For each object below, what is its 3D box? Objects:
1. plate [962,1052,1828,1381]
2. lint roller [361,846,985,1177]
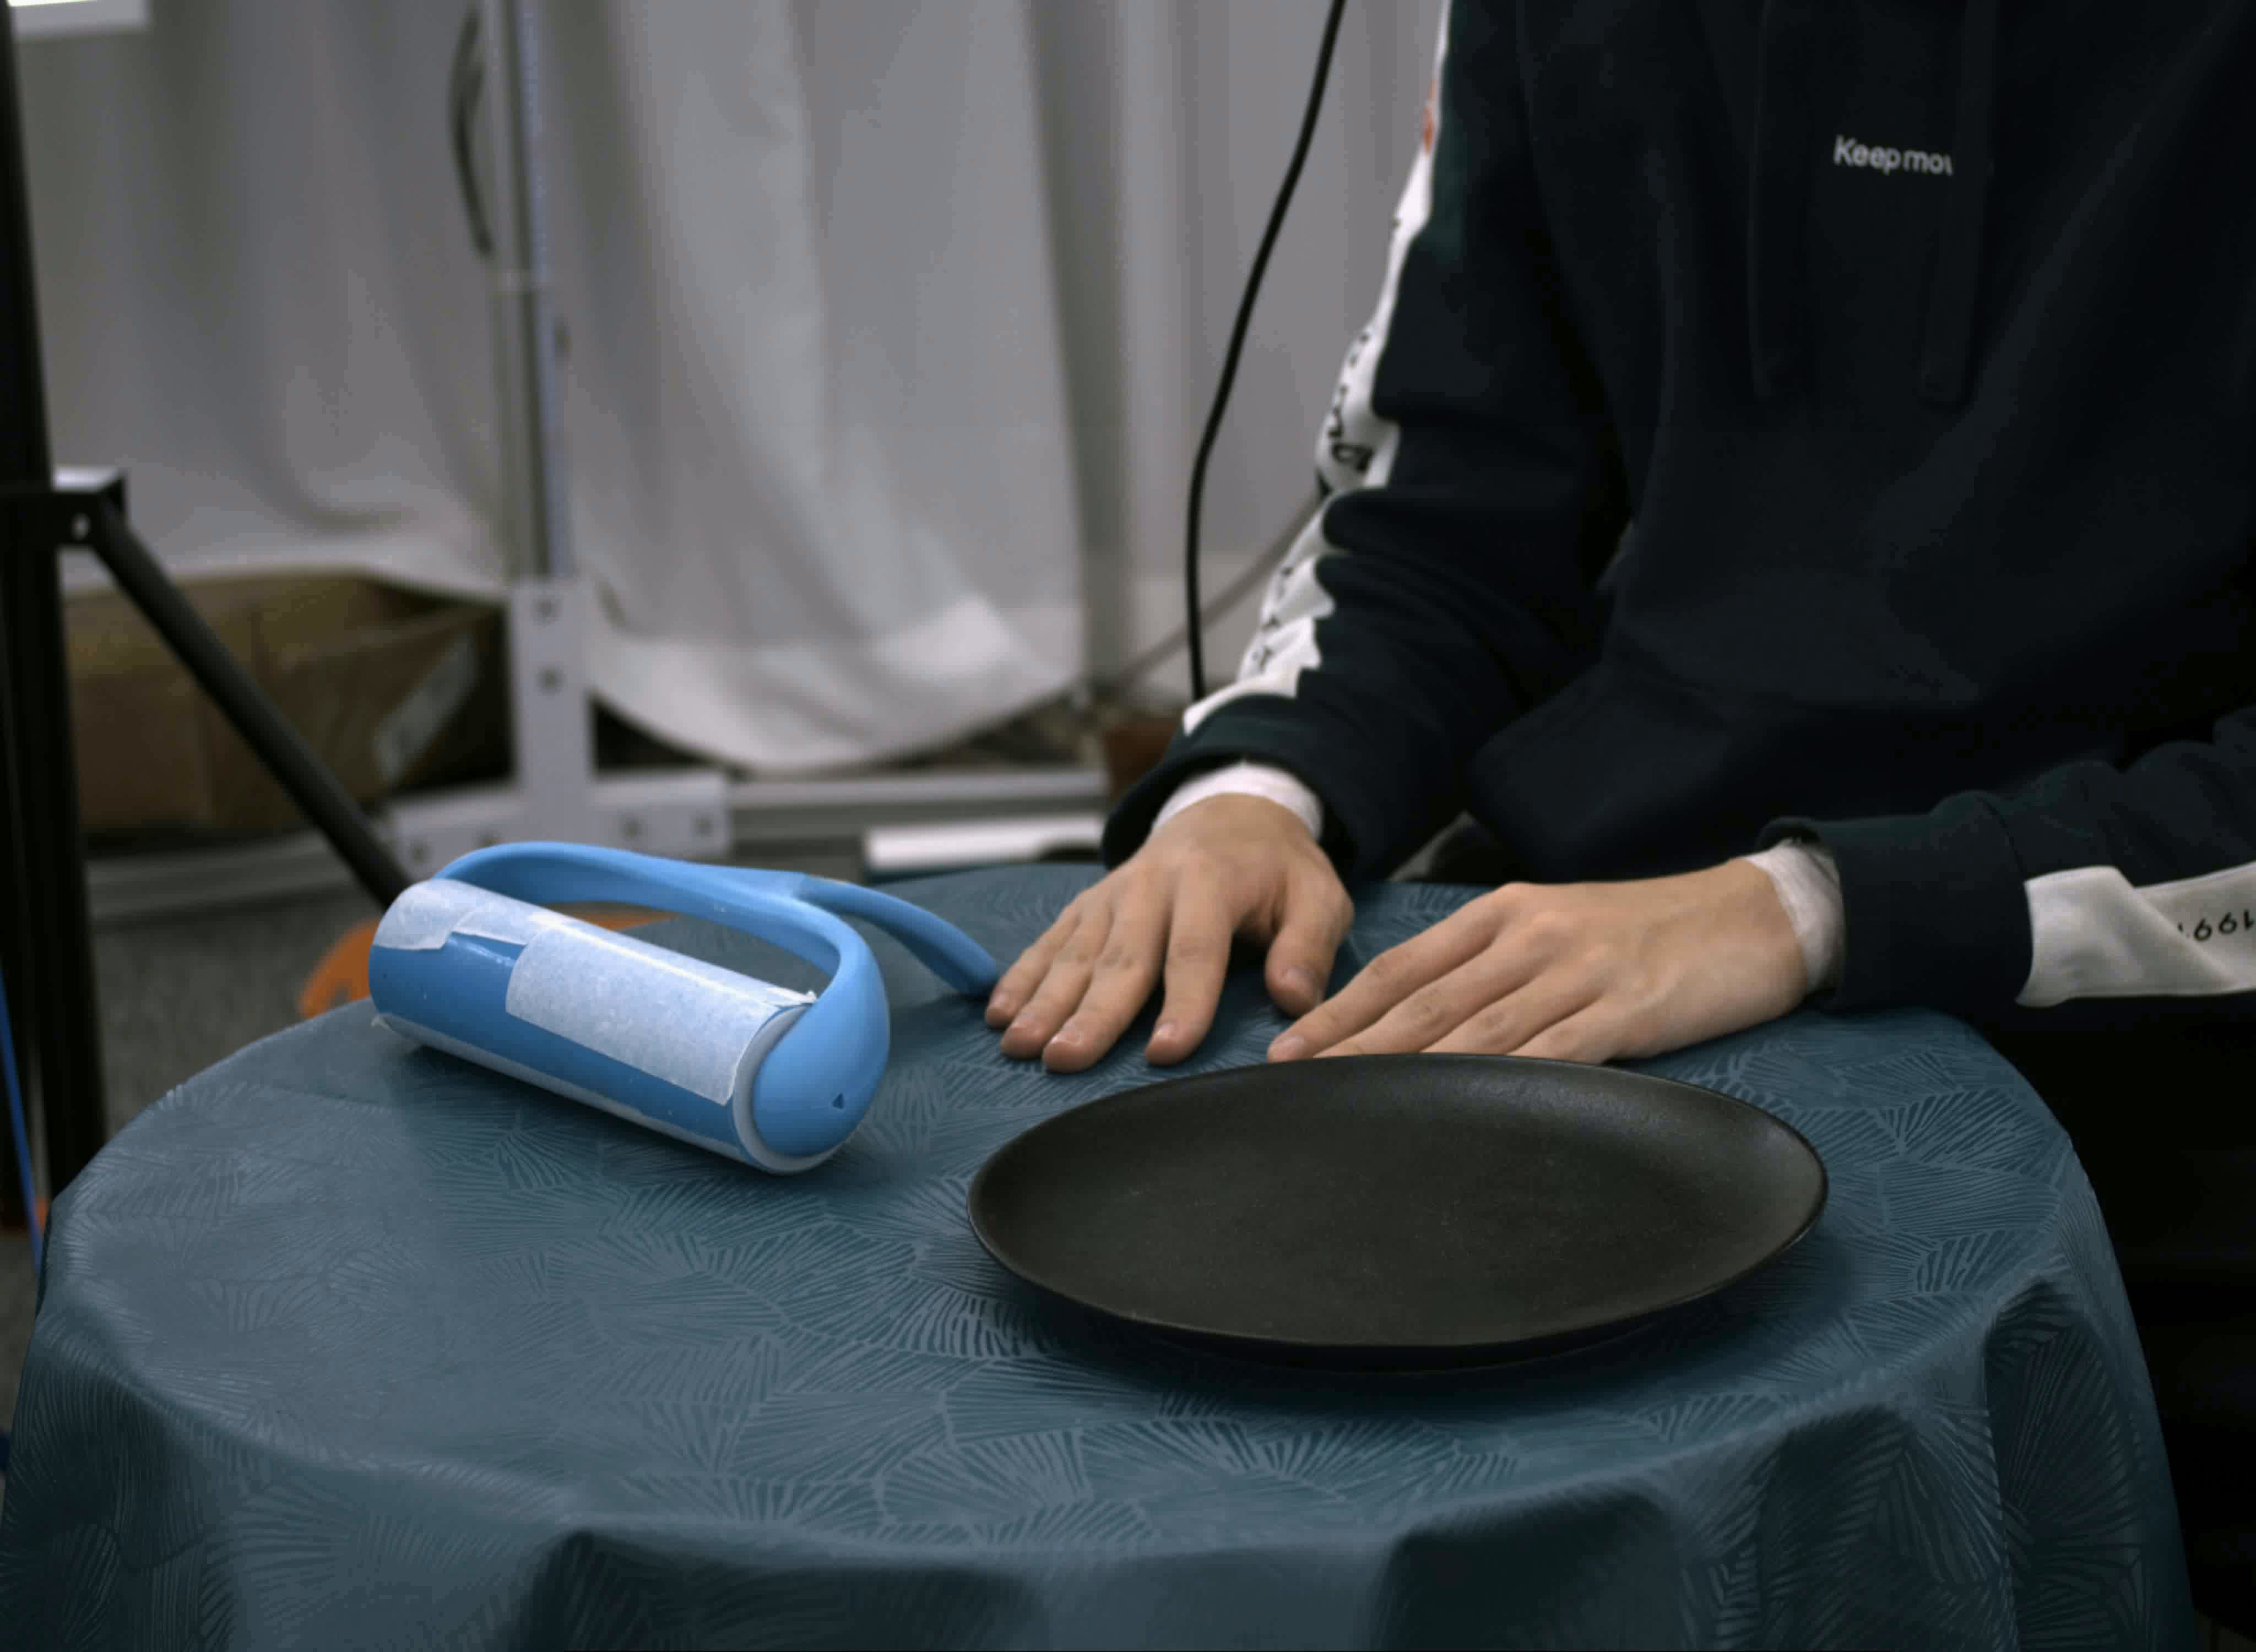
[{"bbox_3d":[0.075,0.112,1.489,0.243,0.023,0.245,-3,16,-1],"label":"plate"},{"bbox_3d":[-0.119,0.047,1.690,0.176,0.068,0.234,-17,20,-40],"label":"lint roller"}]
